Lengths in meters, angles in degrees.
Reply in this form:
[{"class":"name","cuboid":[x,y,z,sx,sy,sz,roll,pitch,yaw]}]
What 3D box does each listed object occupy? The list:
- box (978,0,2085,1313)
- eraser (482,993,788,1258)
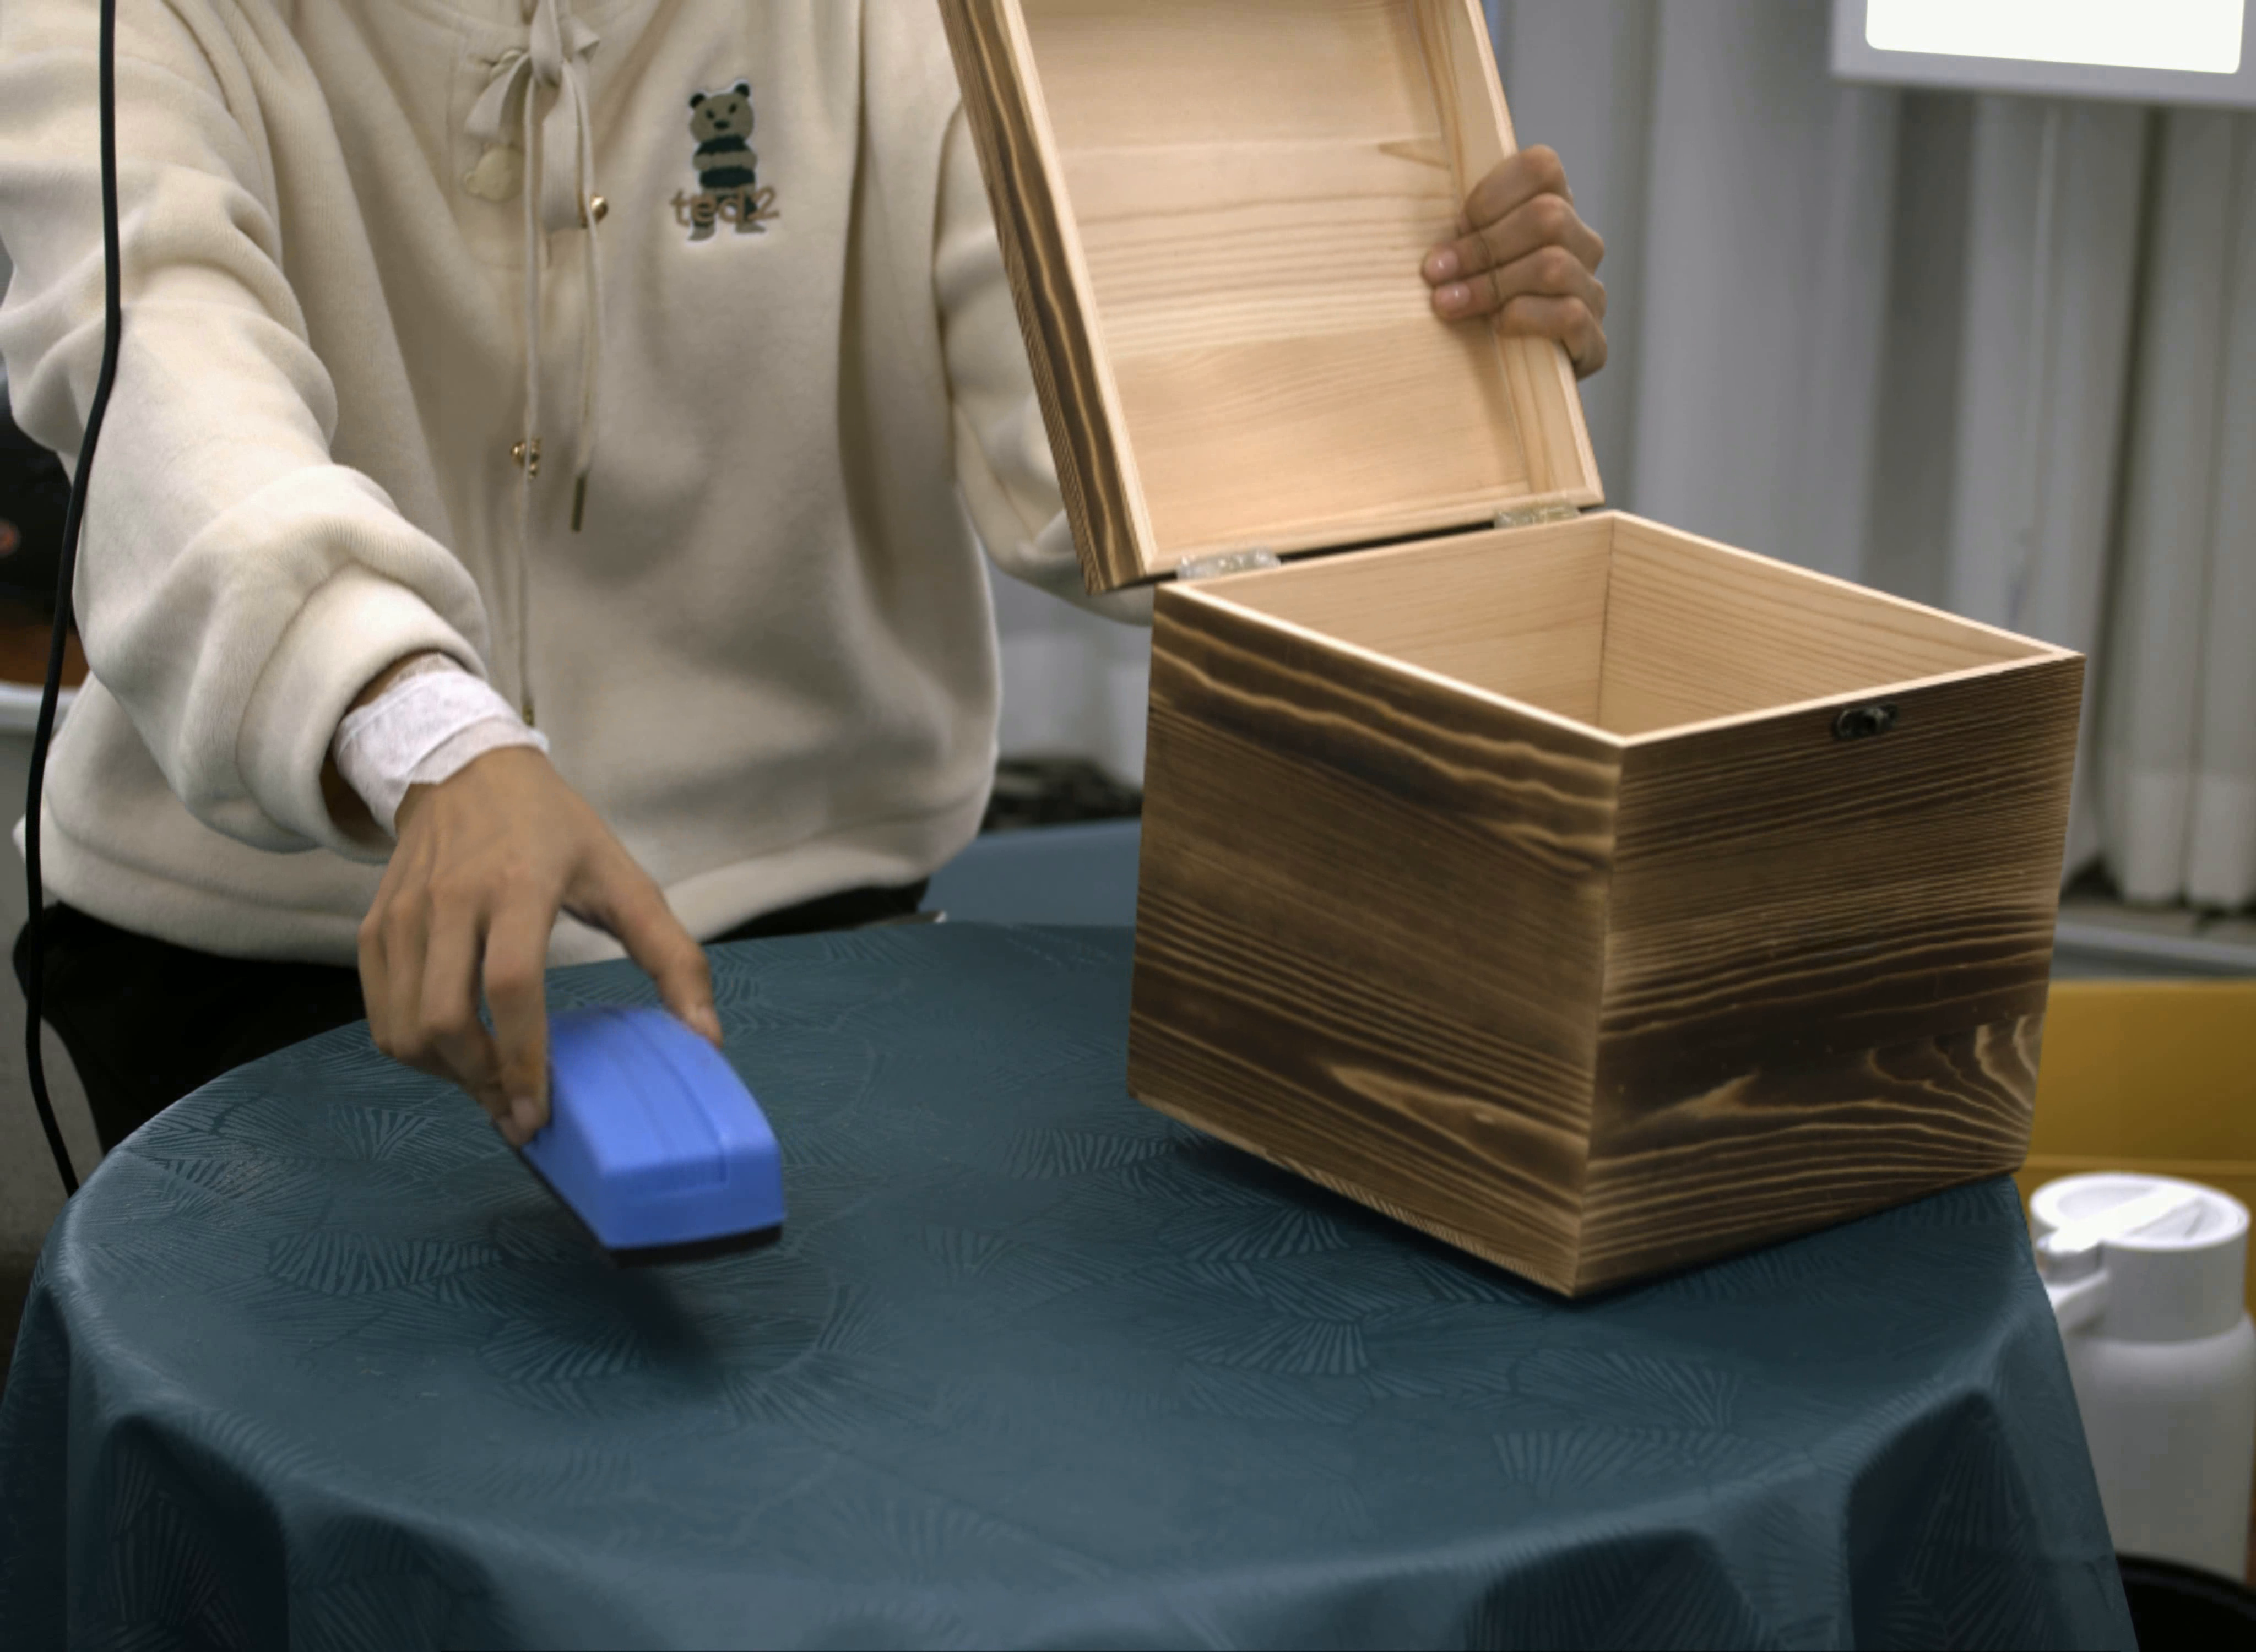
[{"class":"box","cuboid":[0.115,-0.089,1.630,0.210,0.378,0.317,-13,23,-40]},{"class":"eraser","cuboid":[-0.146,0.080,1.531,0.054,0.048,0.160,-8,15,-19]}]
